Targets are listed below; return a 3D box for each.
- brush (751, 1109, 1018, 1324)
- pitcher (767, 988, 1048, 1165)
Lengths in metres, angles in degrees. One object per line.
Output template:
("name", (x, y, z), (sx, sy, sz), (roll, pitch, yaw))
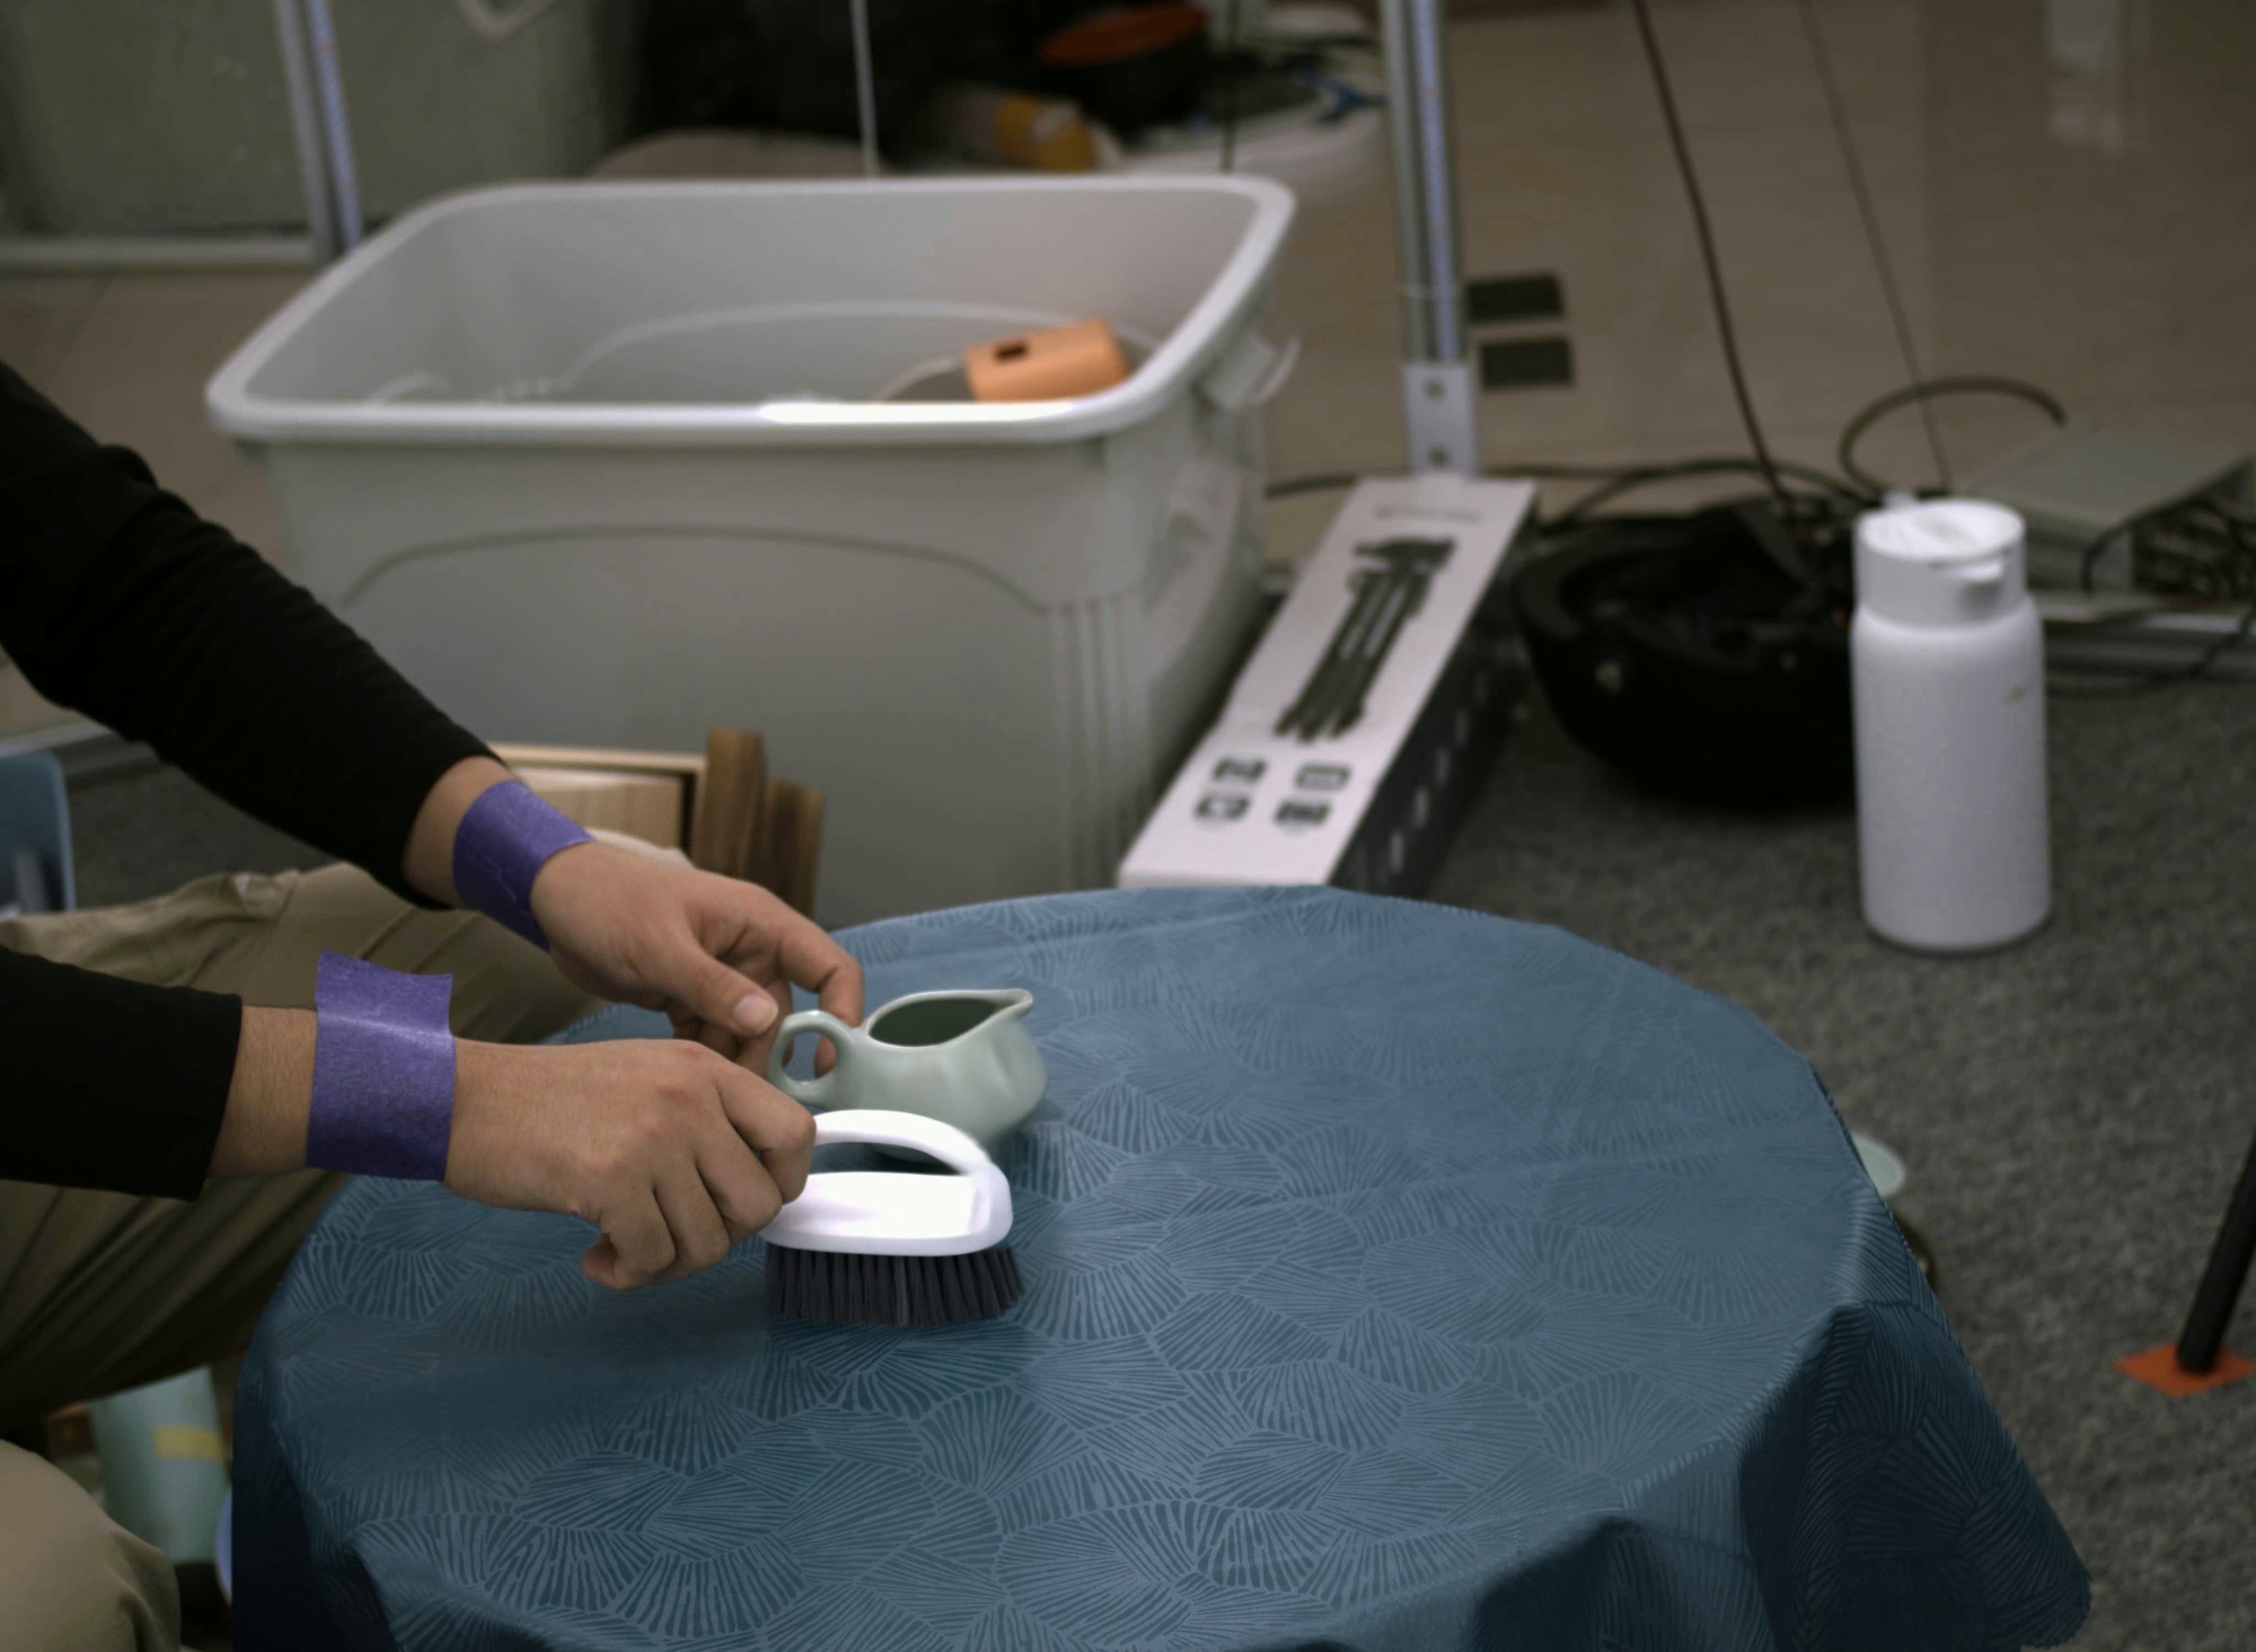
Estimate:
("brush", (-0.091, 0.139, 2.081), (0.099, 0.073, 0.049), (4, 26, 19))
("pitcher", (-0.085, 0.097, 2.192), (0.108, 0.061, 0.085), (-10, 25, -1))
